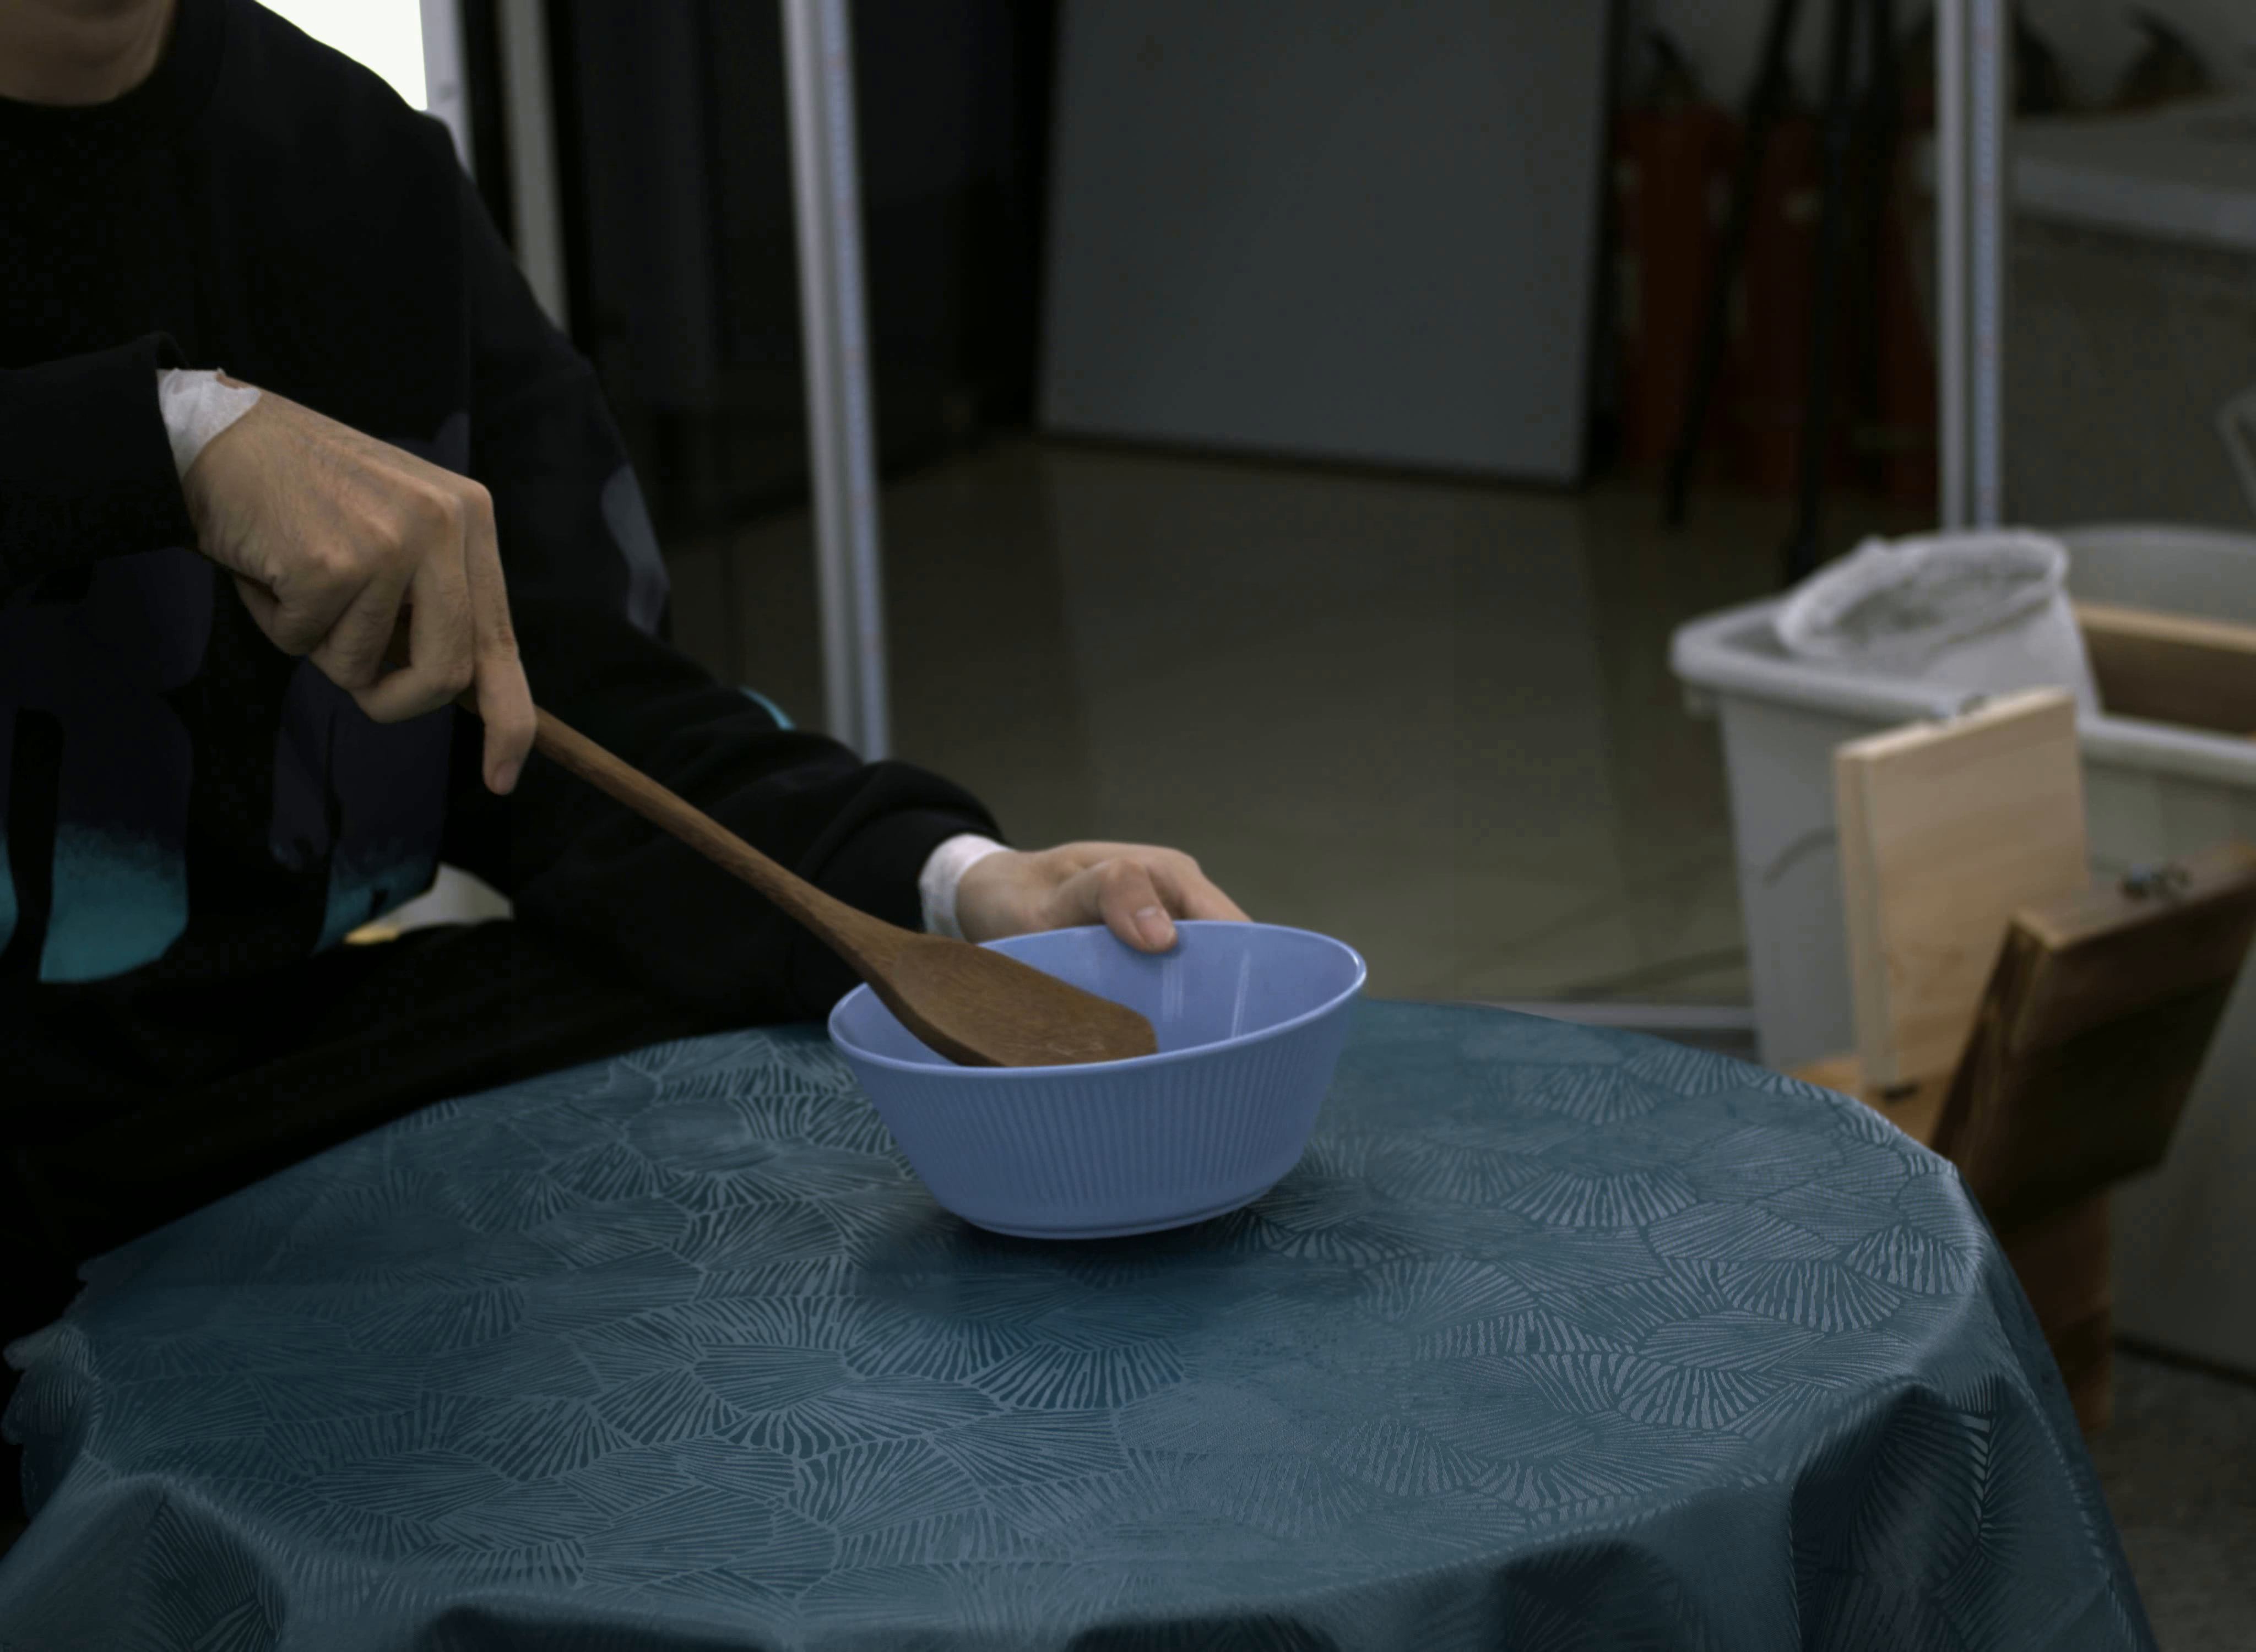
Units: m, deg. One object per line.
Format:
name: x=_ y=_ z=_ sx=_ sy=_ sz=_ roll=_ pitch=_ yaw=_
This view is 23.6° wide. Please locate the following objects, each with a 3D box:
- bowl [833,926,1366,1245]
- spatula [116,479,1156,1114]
bowl: x=-0.005 y=0.086 z=1.740 sx=0.174 sy=0.071 sz=0.176 roll=-7 pitch=12 yaw=1
spatula: x=-0.157 y=-0.013 z=1.722 sx=0.384 sy=0.016 sz=0.095 roll=31 pitch=19 yaw=5
